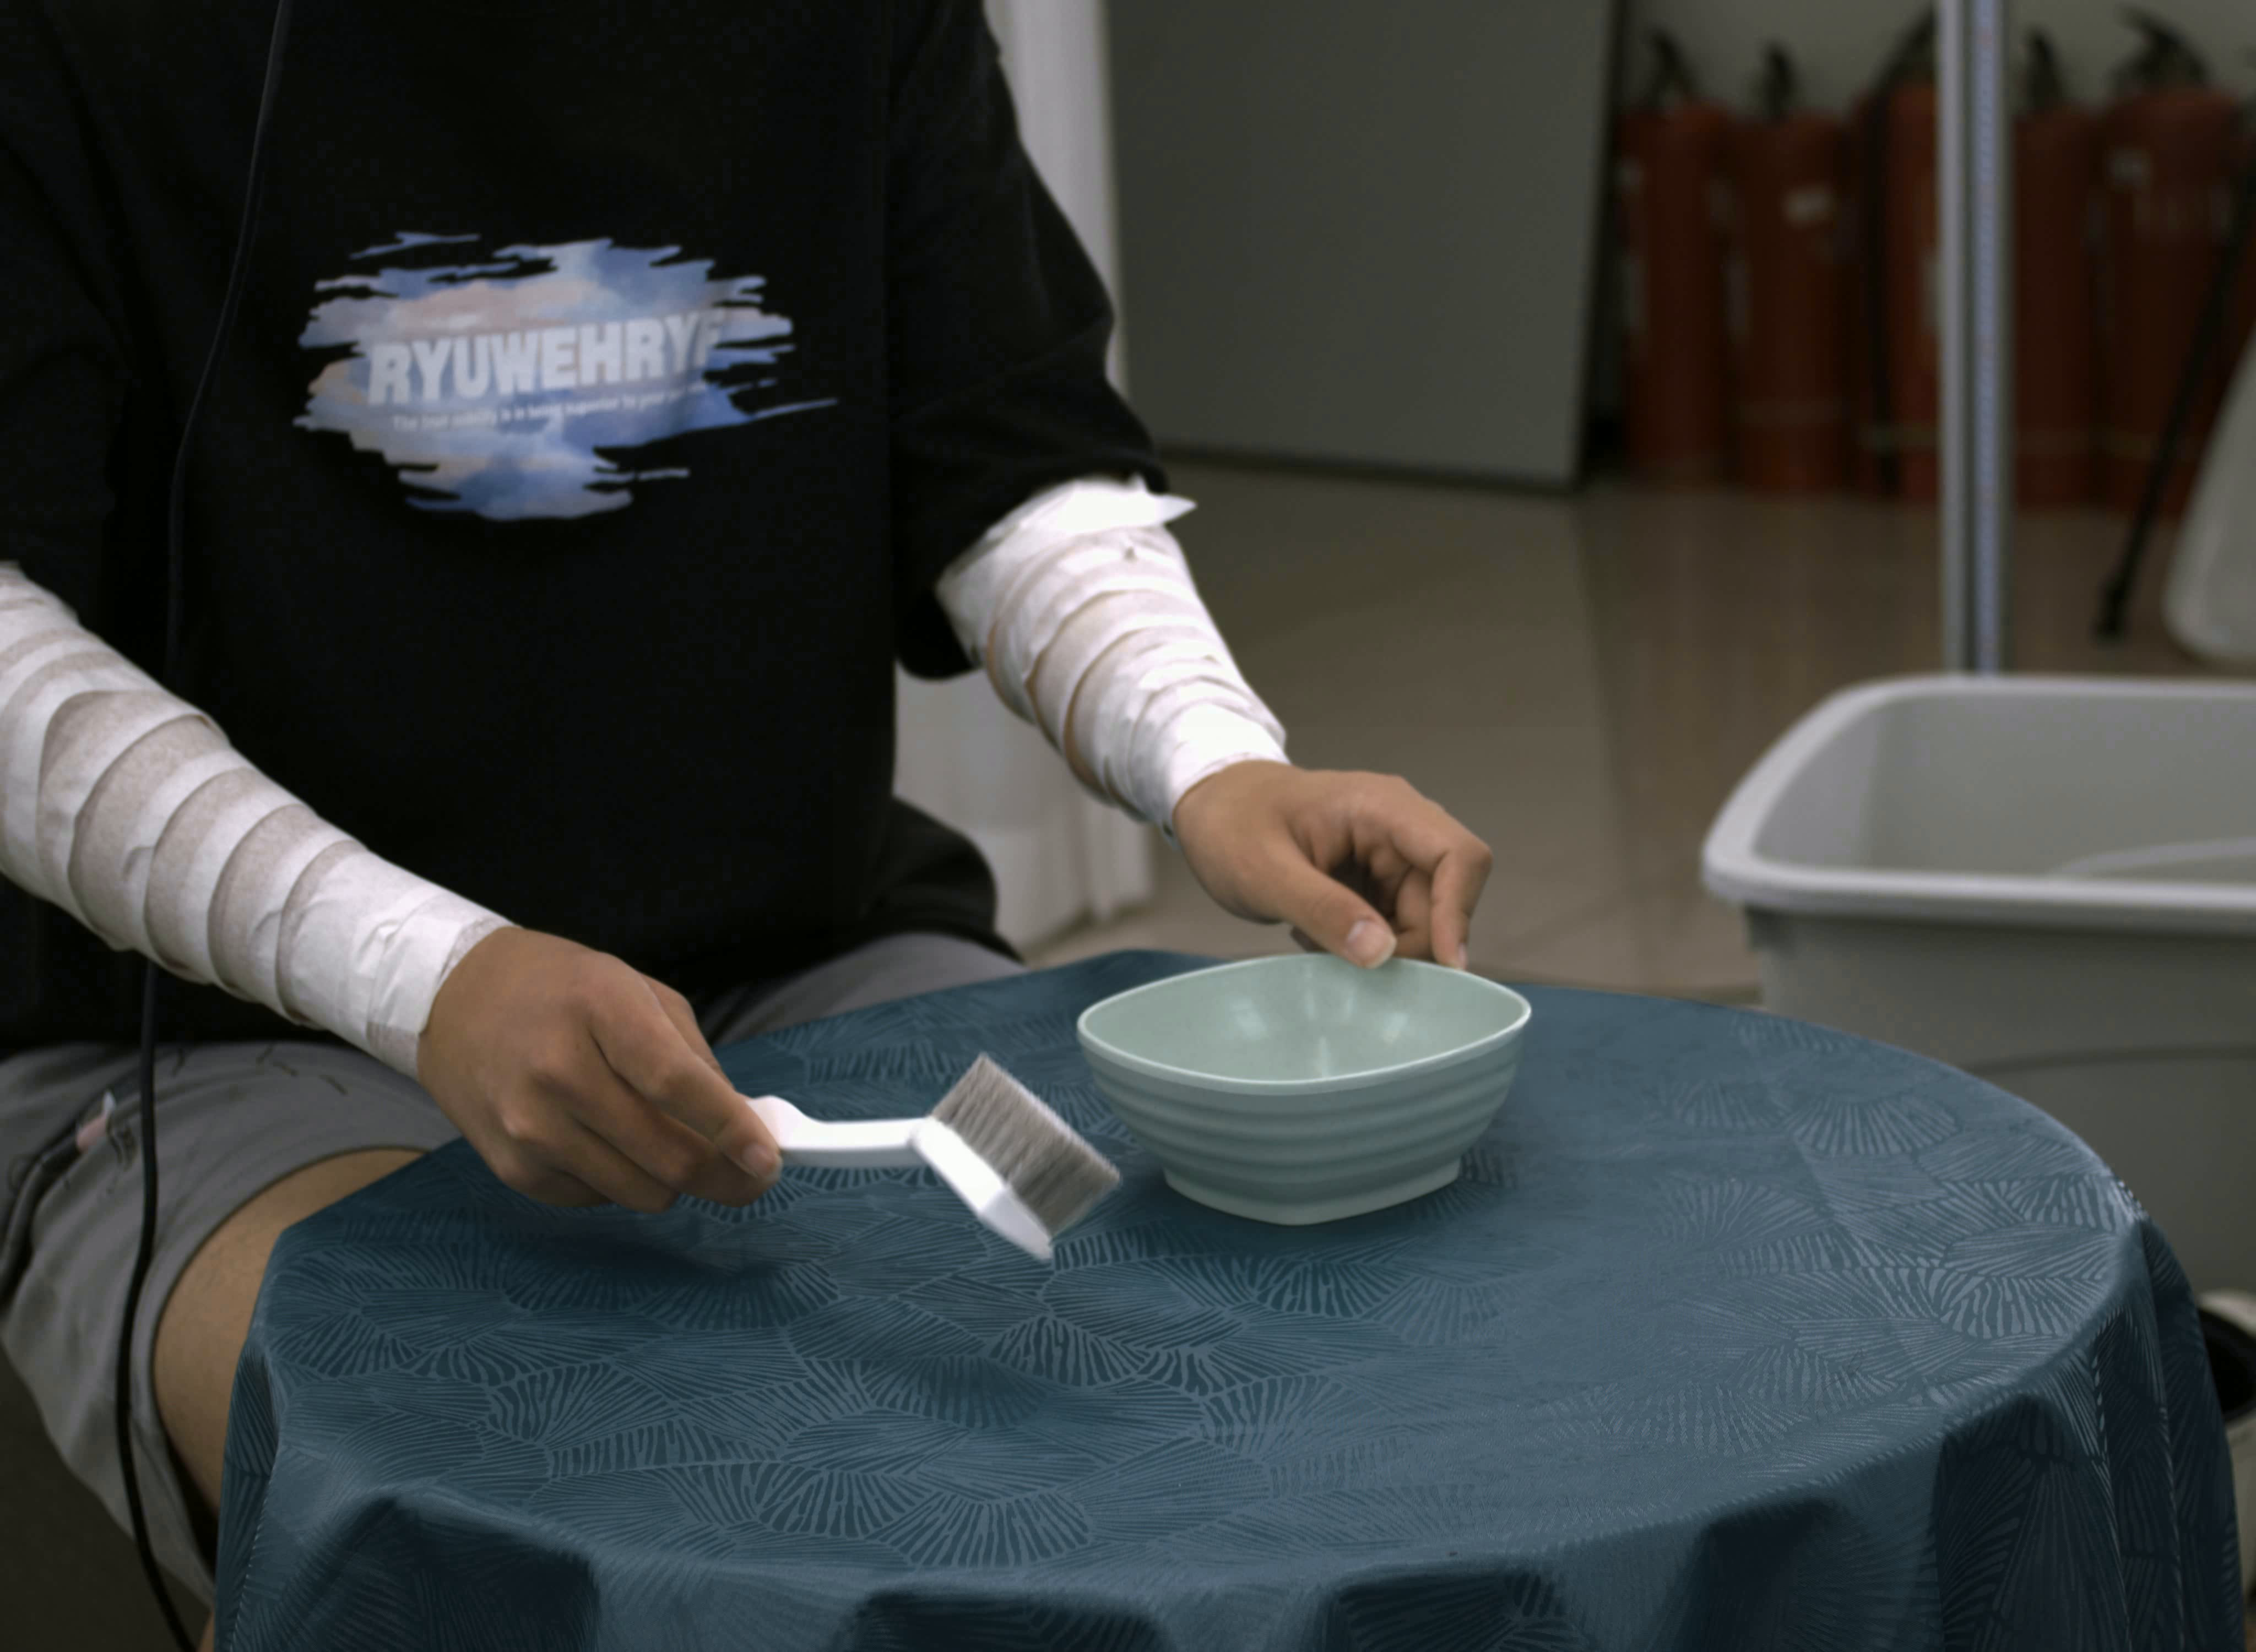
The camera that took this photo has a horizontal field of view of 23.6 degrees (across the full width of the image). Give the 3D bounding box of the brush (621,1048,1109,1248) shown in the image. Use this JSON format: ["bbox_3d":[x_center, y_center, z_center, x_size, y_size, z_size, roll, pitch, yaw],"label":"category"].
[{"bbox_3d":[-0.085,0.088,1.683,0.034,0.050,0.246,36,-15,-30],"label":"brush"}]

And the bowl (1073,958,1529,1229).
[{"bbox_3d":[0.057,0.090,1.765,0.149,0.059,0.151,-2,13,0],"label":"bowl"}]
